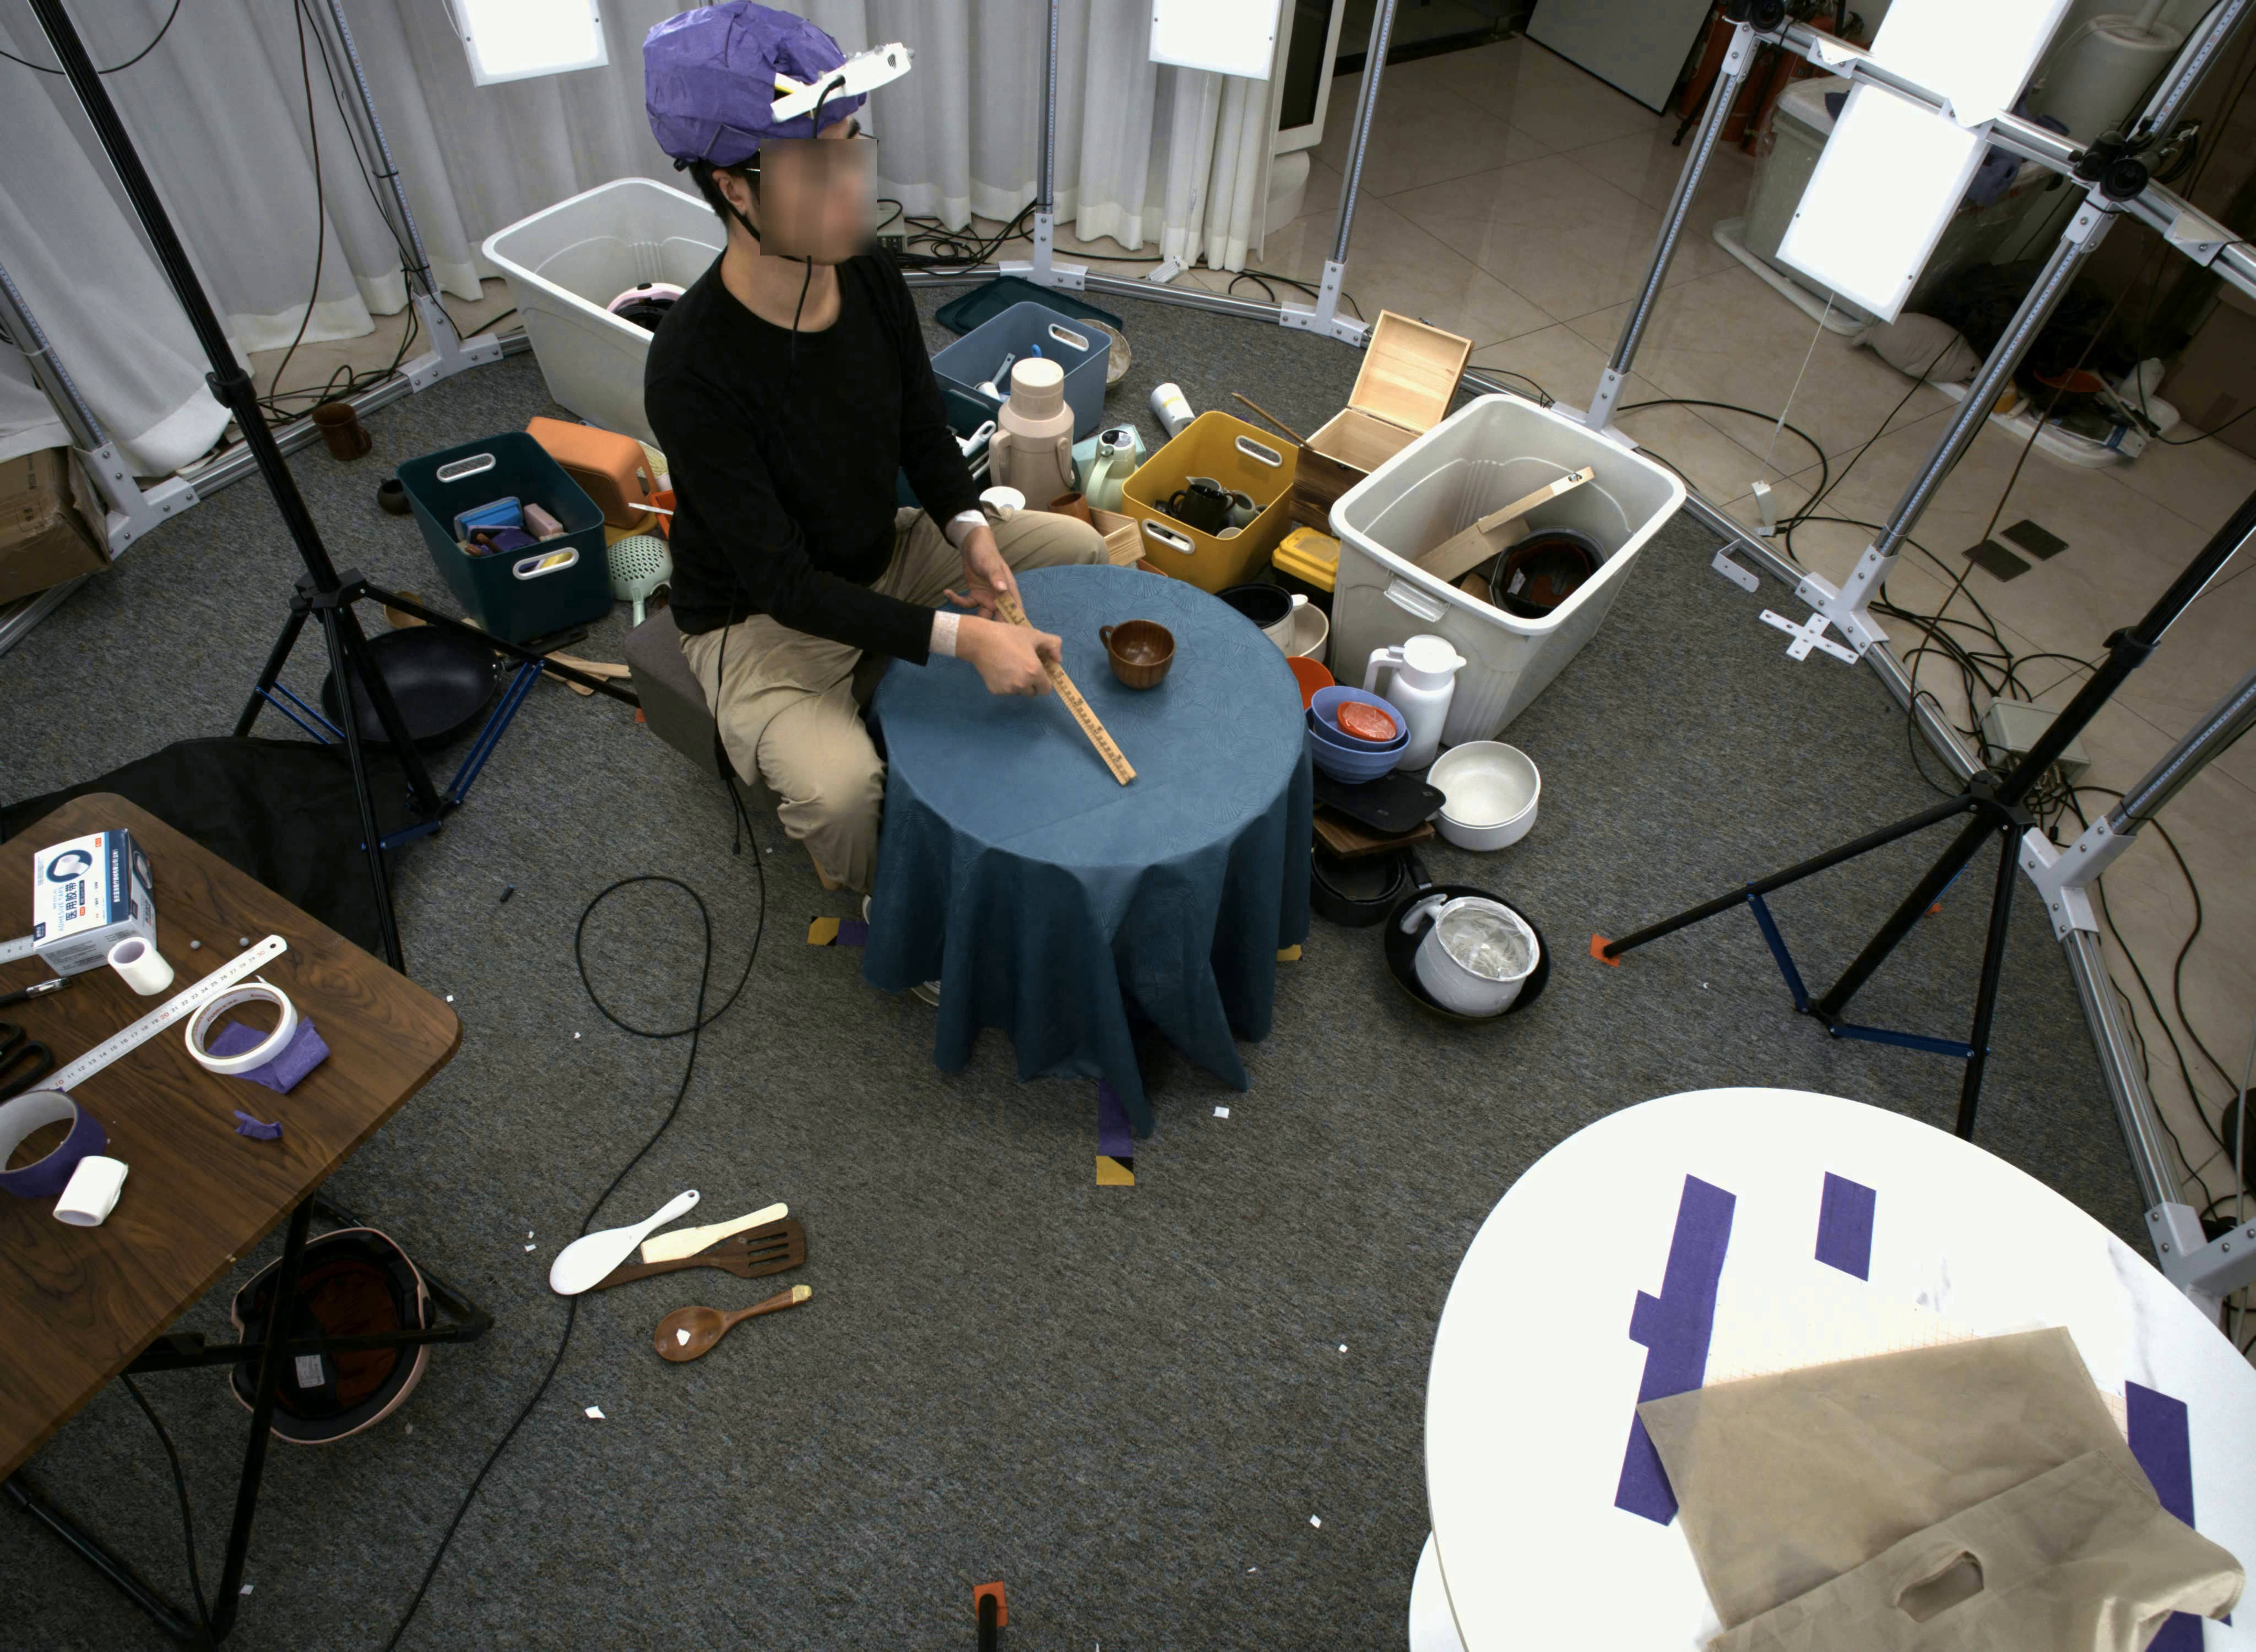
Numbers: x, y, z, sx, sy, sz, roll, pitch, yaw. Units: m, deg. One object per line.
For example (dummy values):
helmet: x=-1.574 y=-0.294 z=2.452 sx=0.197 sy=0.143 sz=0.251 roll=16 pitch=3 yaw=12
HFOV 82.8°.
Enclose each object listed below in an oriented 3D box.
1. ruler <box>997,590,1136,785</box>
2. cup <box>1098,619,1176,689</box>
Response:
ruler: x=-0.088 y=-0.195 z=1.765 sx=0.027 sy=0.022 sz=0.336 roll=-31 pitch=72 yaw=-5
cup: x=0.009 y=-0.246 z=1.842 sx=0.121 sy=0.066 sz=0.097 roll=28 pitch=55 yaw=21
